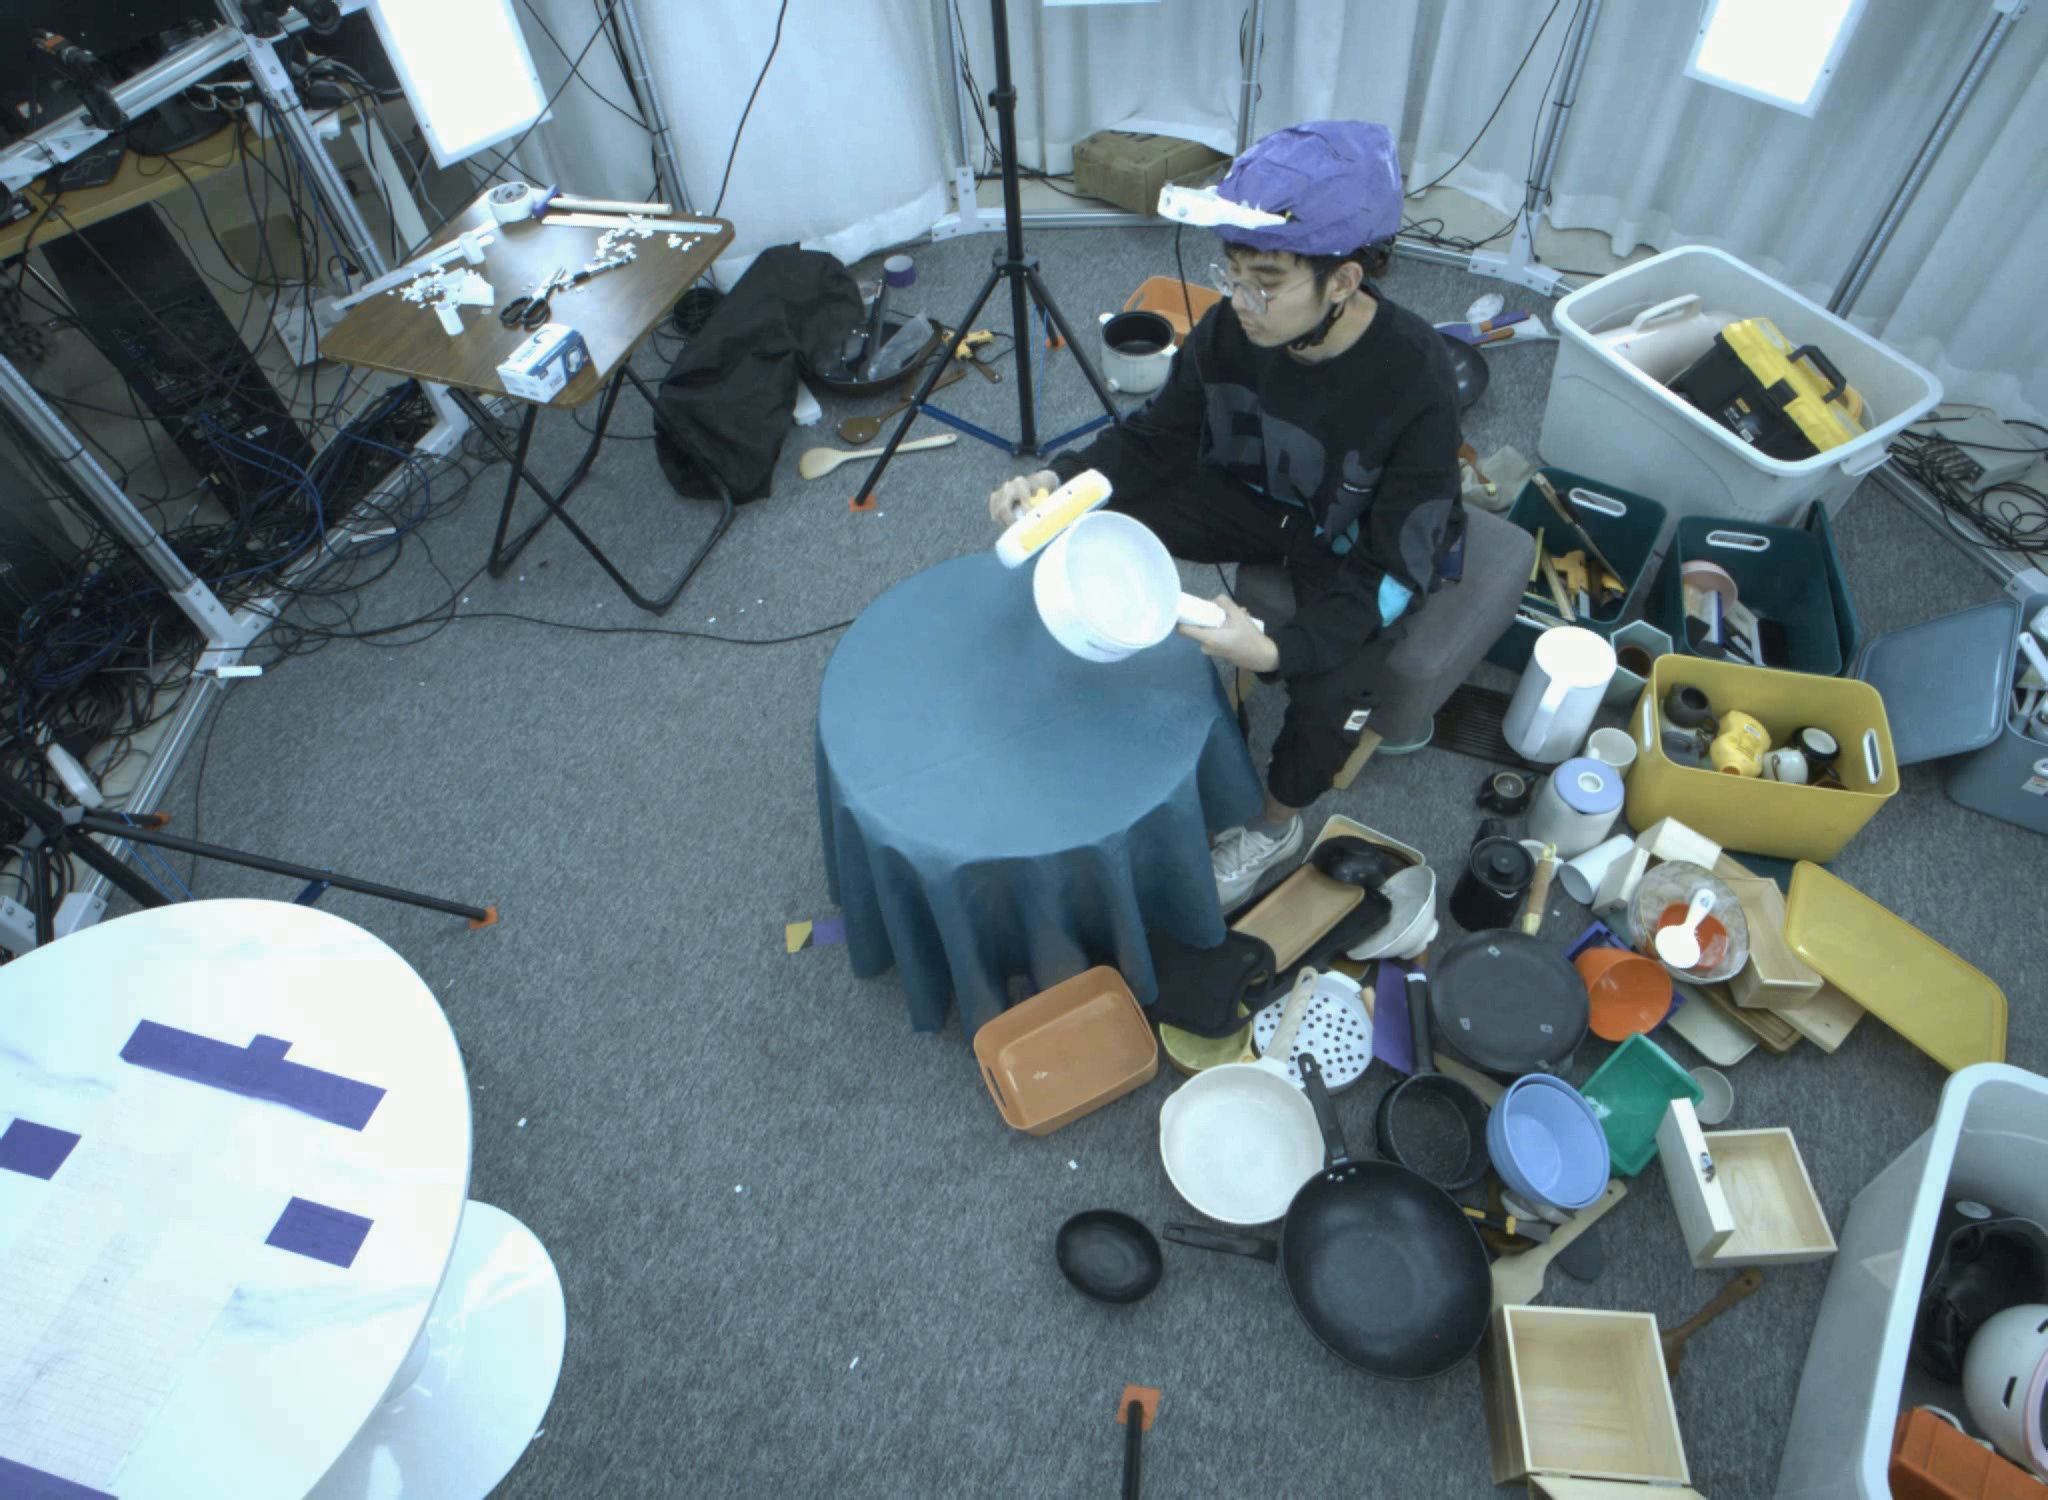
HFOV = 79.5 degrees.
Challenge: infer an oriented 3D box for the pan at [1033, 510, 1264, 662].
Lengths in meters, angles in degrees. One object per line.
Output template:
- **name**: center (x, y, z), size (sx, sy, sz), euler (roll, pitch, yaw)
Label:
- **pan**: center (0.175, -0.204, 1.746), size (0.362, 0.100, 0.200), euler (16, 66, -29)

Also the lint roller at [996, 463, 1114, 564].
- **lint roller**: center (0.017, -0.340, 1.767), size (0.193, 0.189, 0.075), euler (-45, 109, -15)
